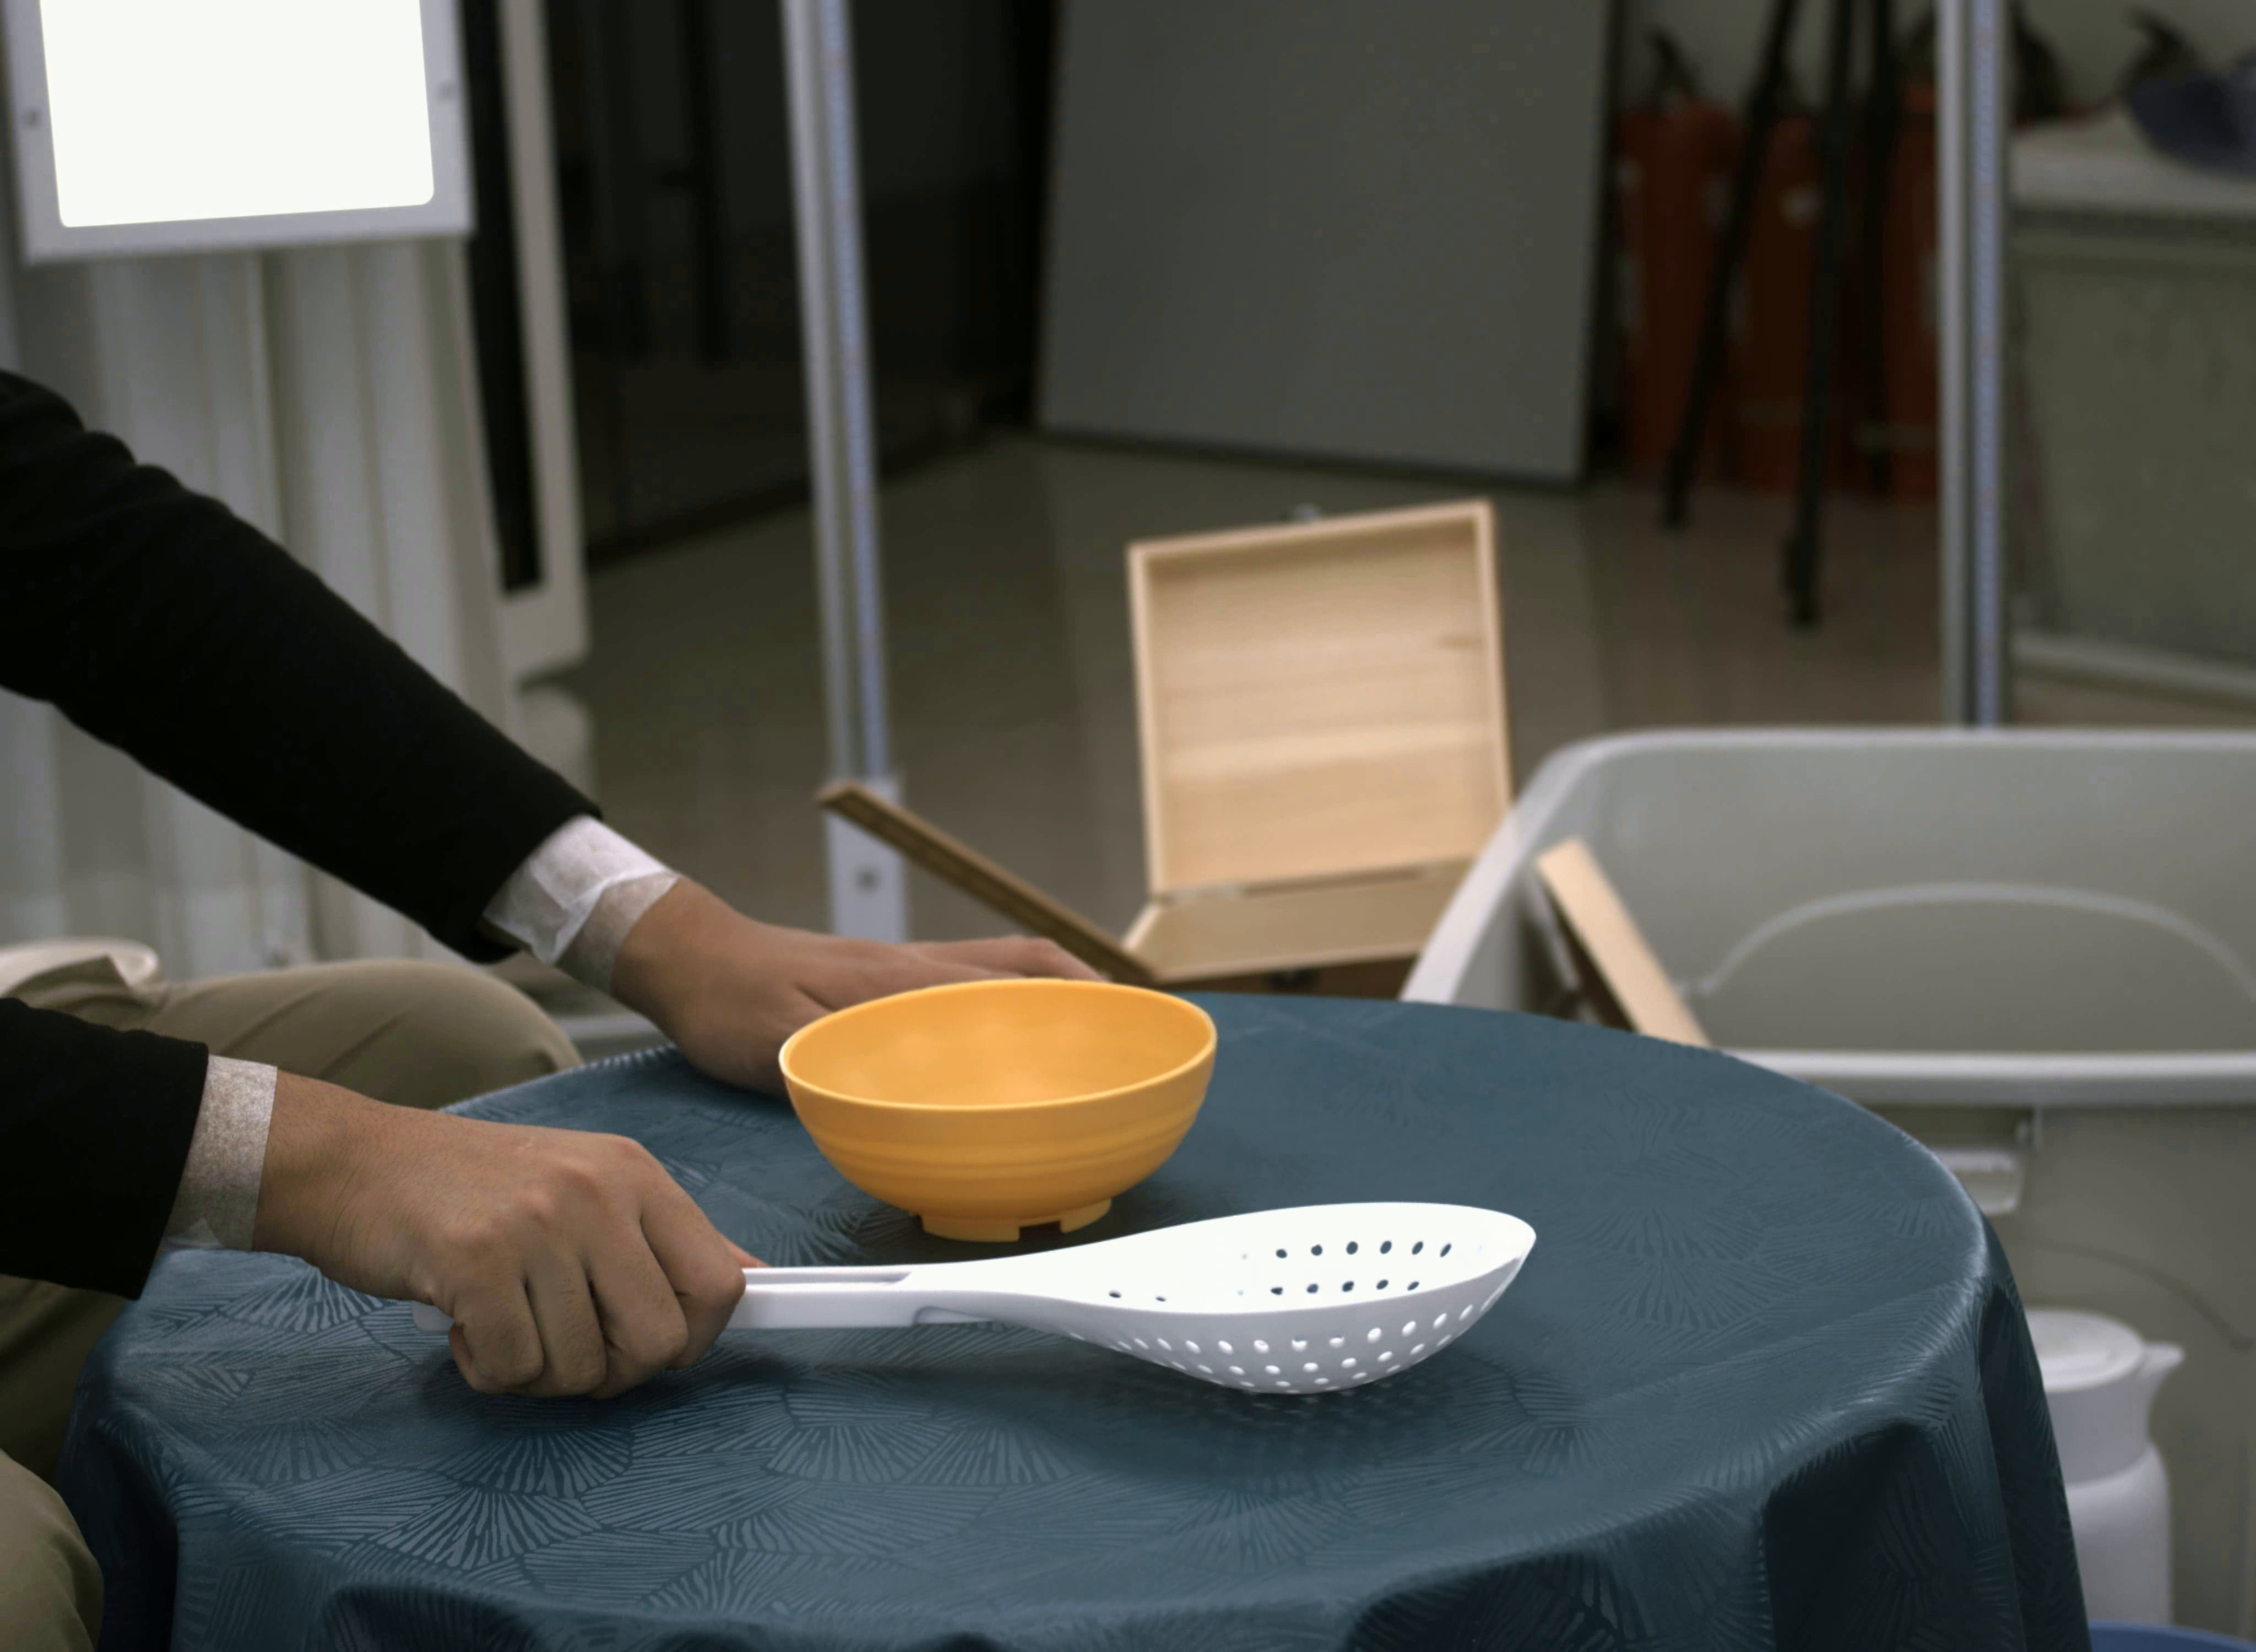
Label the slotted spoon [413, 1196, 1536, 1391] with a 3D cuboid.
[{"bbox_3d":[-0.050,0.138,1.604,0.348,0.046,0.135,1,9,17],"label":"slotted spoon"}]

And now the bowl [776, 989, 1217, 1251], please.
[{"bbox_3d":[-0.042,0.099,1.752,0.143,0.061,0.145,-2,13,0],"label":"bowl"}]
